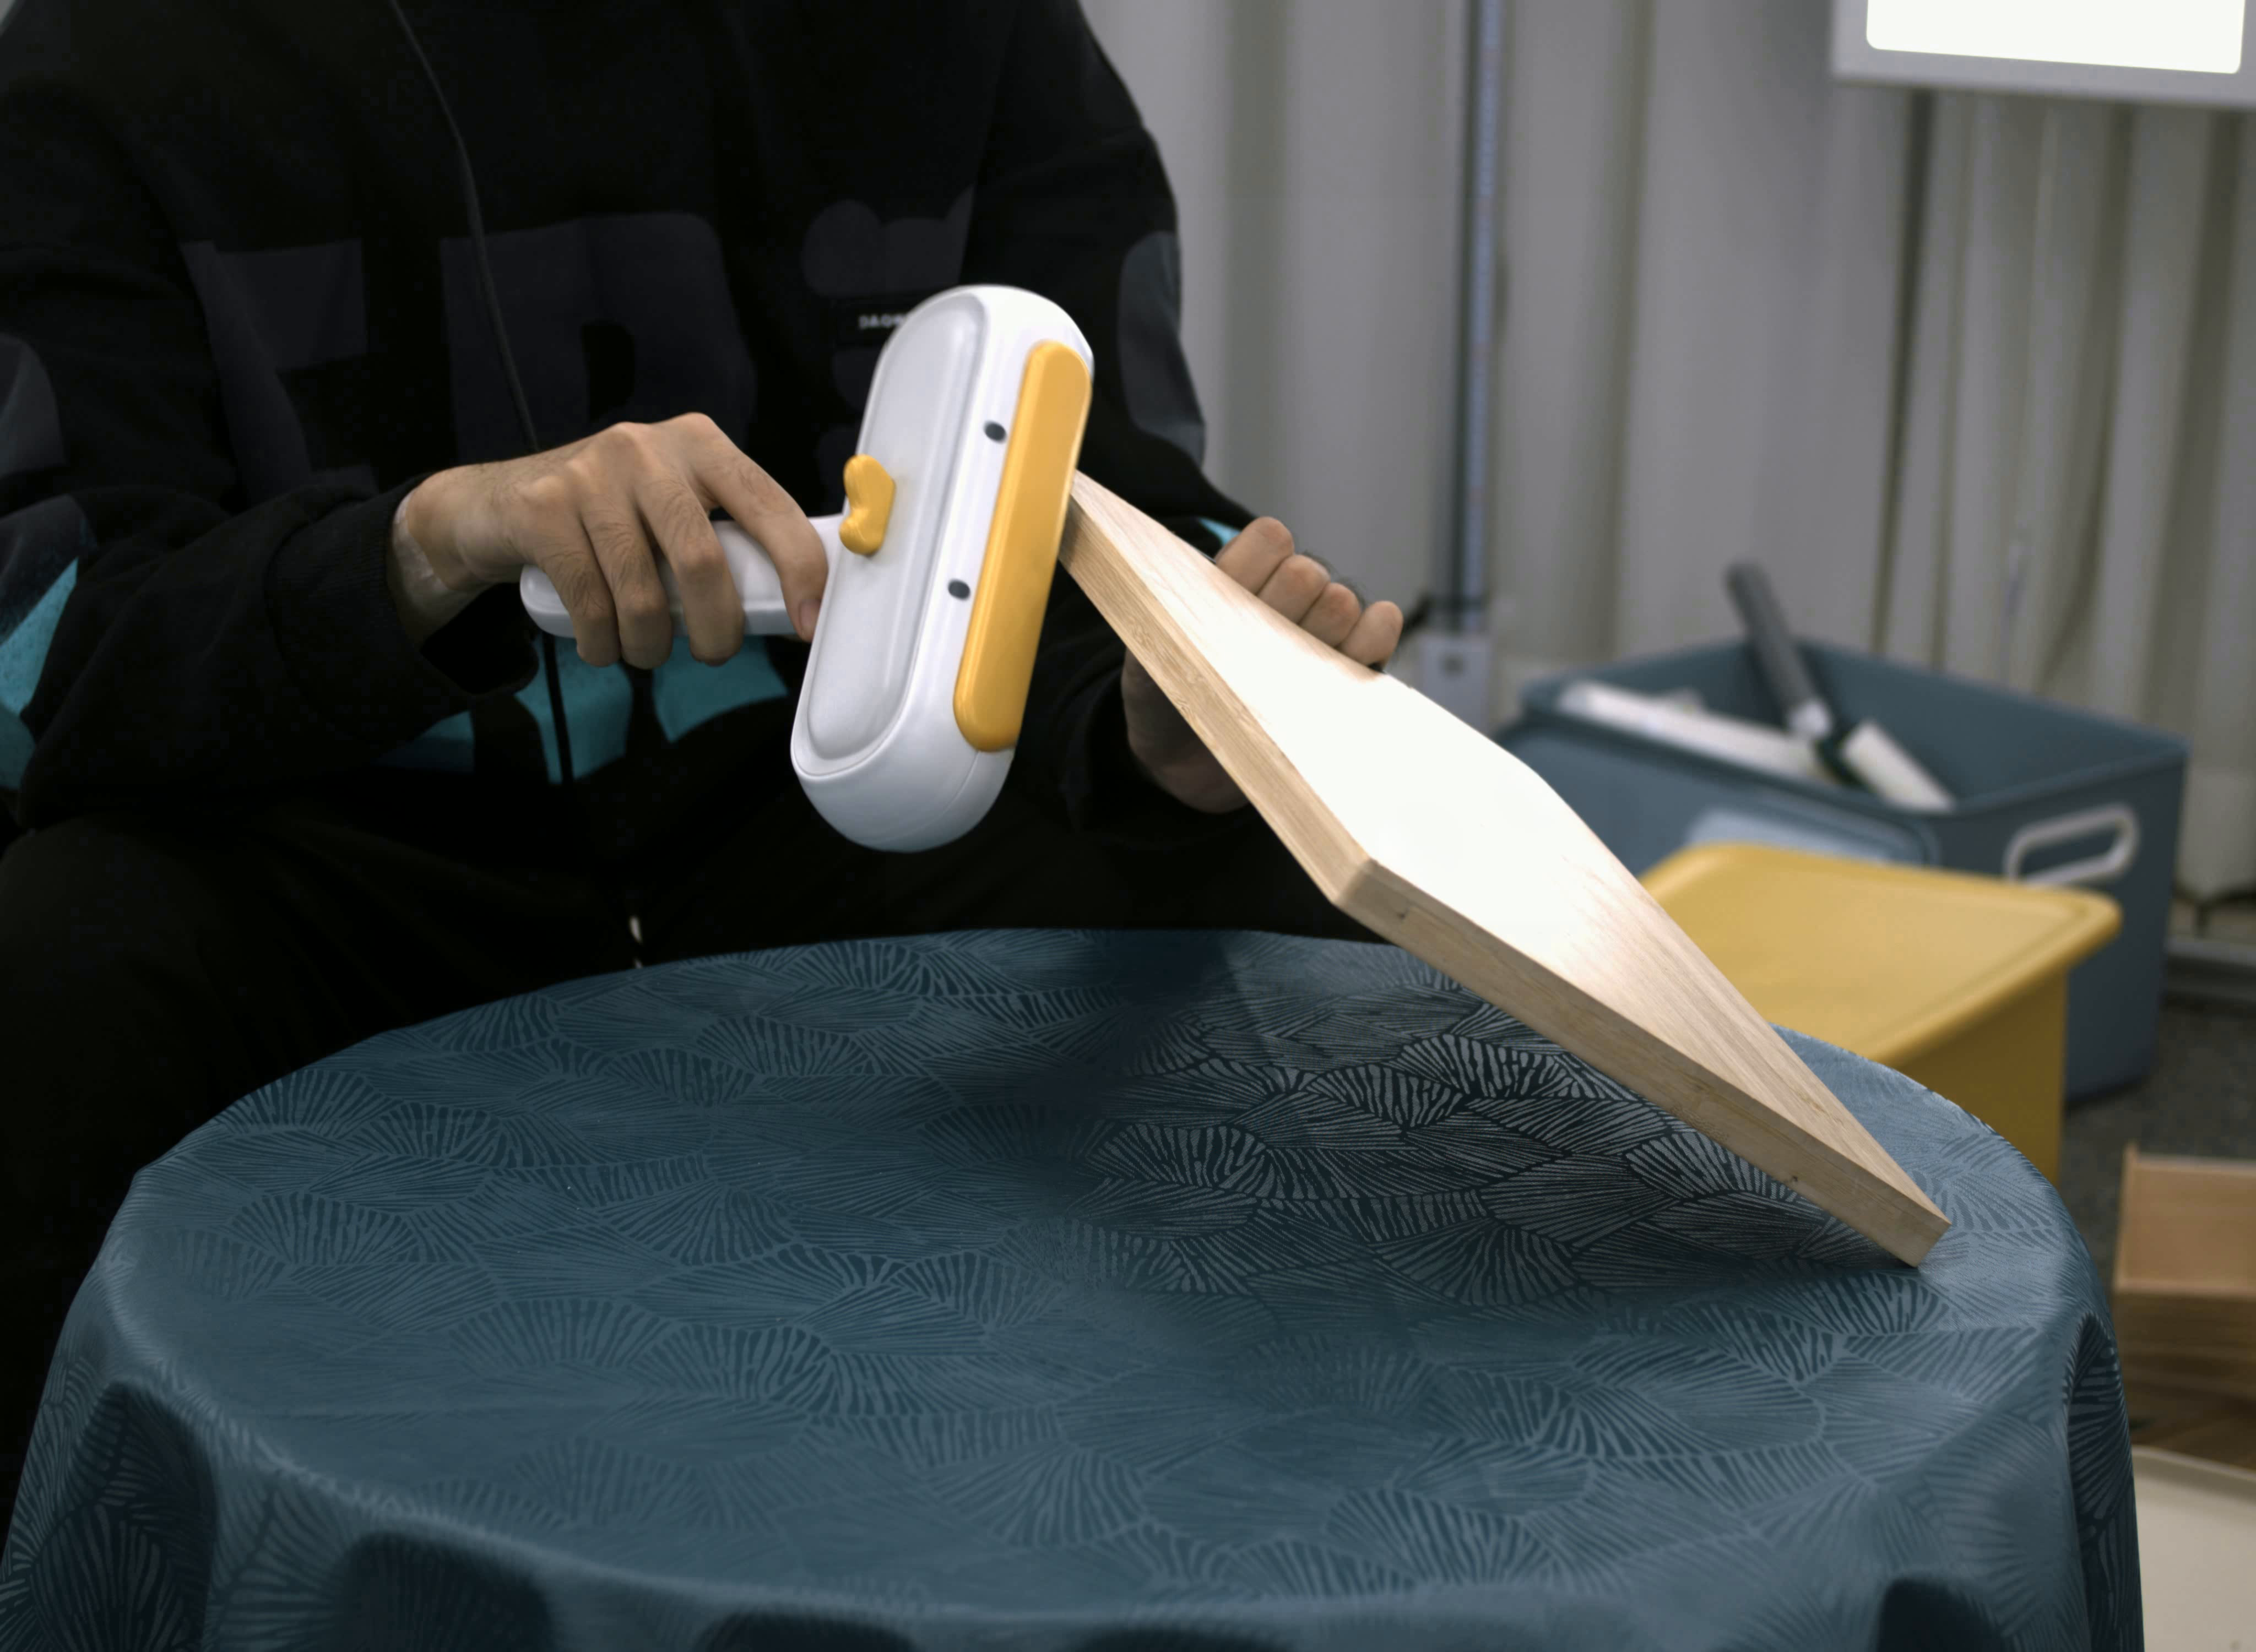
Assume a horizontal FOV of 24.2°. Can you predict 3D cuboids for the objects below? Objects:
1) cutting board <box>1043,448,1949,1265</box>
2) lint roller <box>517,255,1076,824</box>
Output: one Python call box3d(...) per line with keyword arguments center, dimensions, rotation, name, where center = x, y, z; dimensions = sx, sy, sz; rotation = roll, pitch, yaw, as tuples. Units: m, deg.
box3d(center=(0.098, 0.000, 1.649), dimensions=(0.253, 0.023, 0.344), rotation=(32, 10, -30), name="cutting board")
box3d(center=(-0.109, -0.084, 1.692), dimensions=(0.191, 0.192, 0.075), rotation=(-13, -28, 34), name="lint roller")
